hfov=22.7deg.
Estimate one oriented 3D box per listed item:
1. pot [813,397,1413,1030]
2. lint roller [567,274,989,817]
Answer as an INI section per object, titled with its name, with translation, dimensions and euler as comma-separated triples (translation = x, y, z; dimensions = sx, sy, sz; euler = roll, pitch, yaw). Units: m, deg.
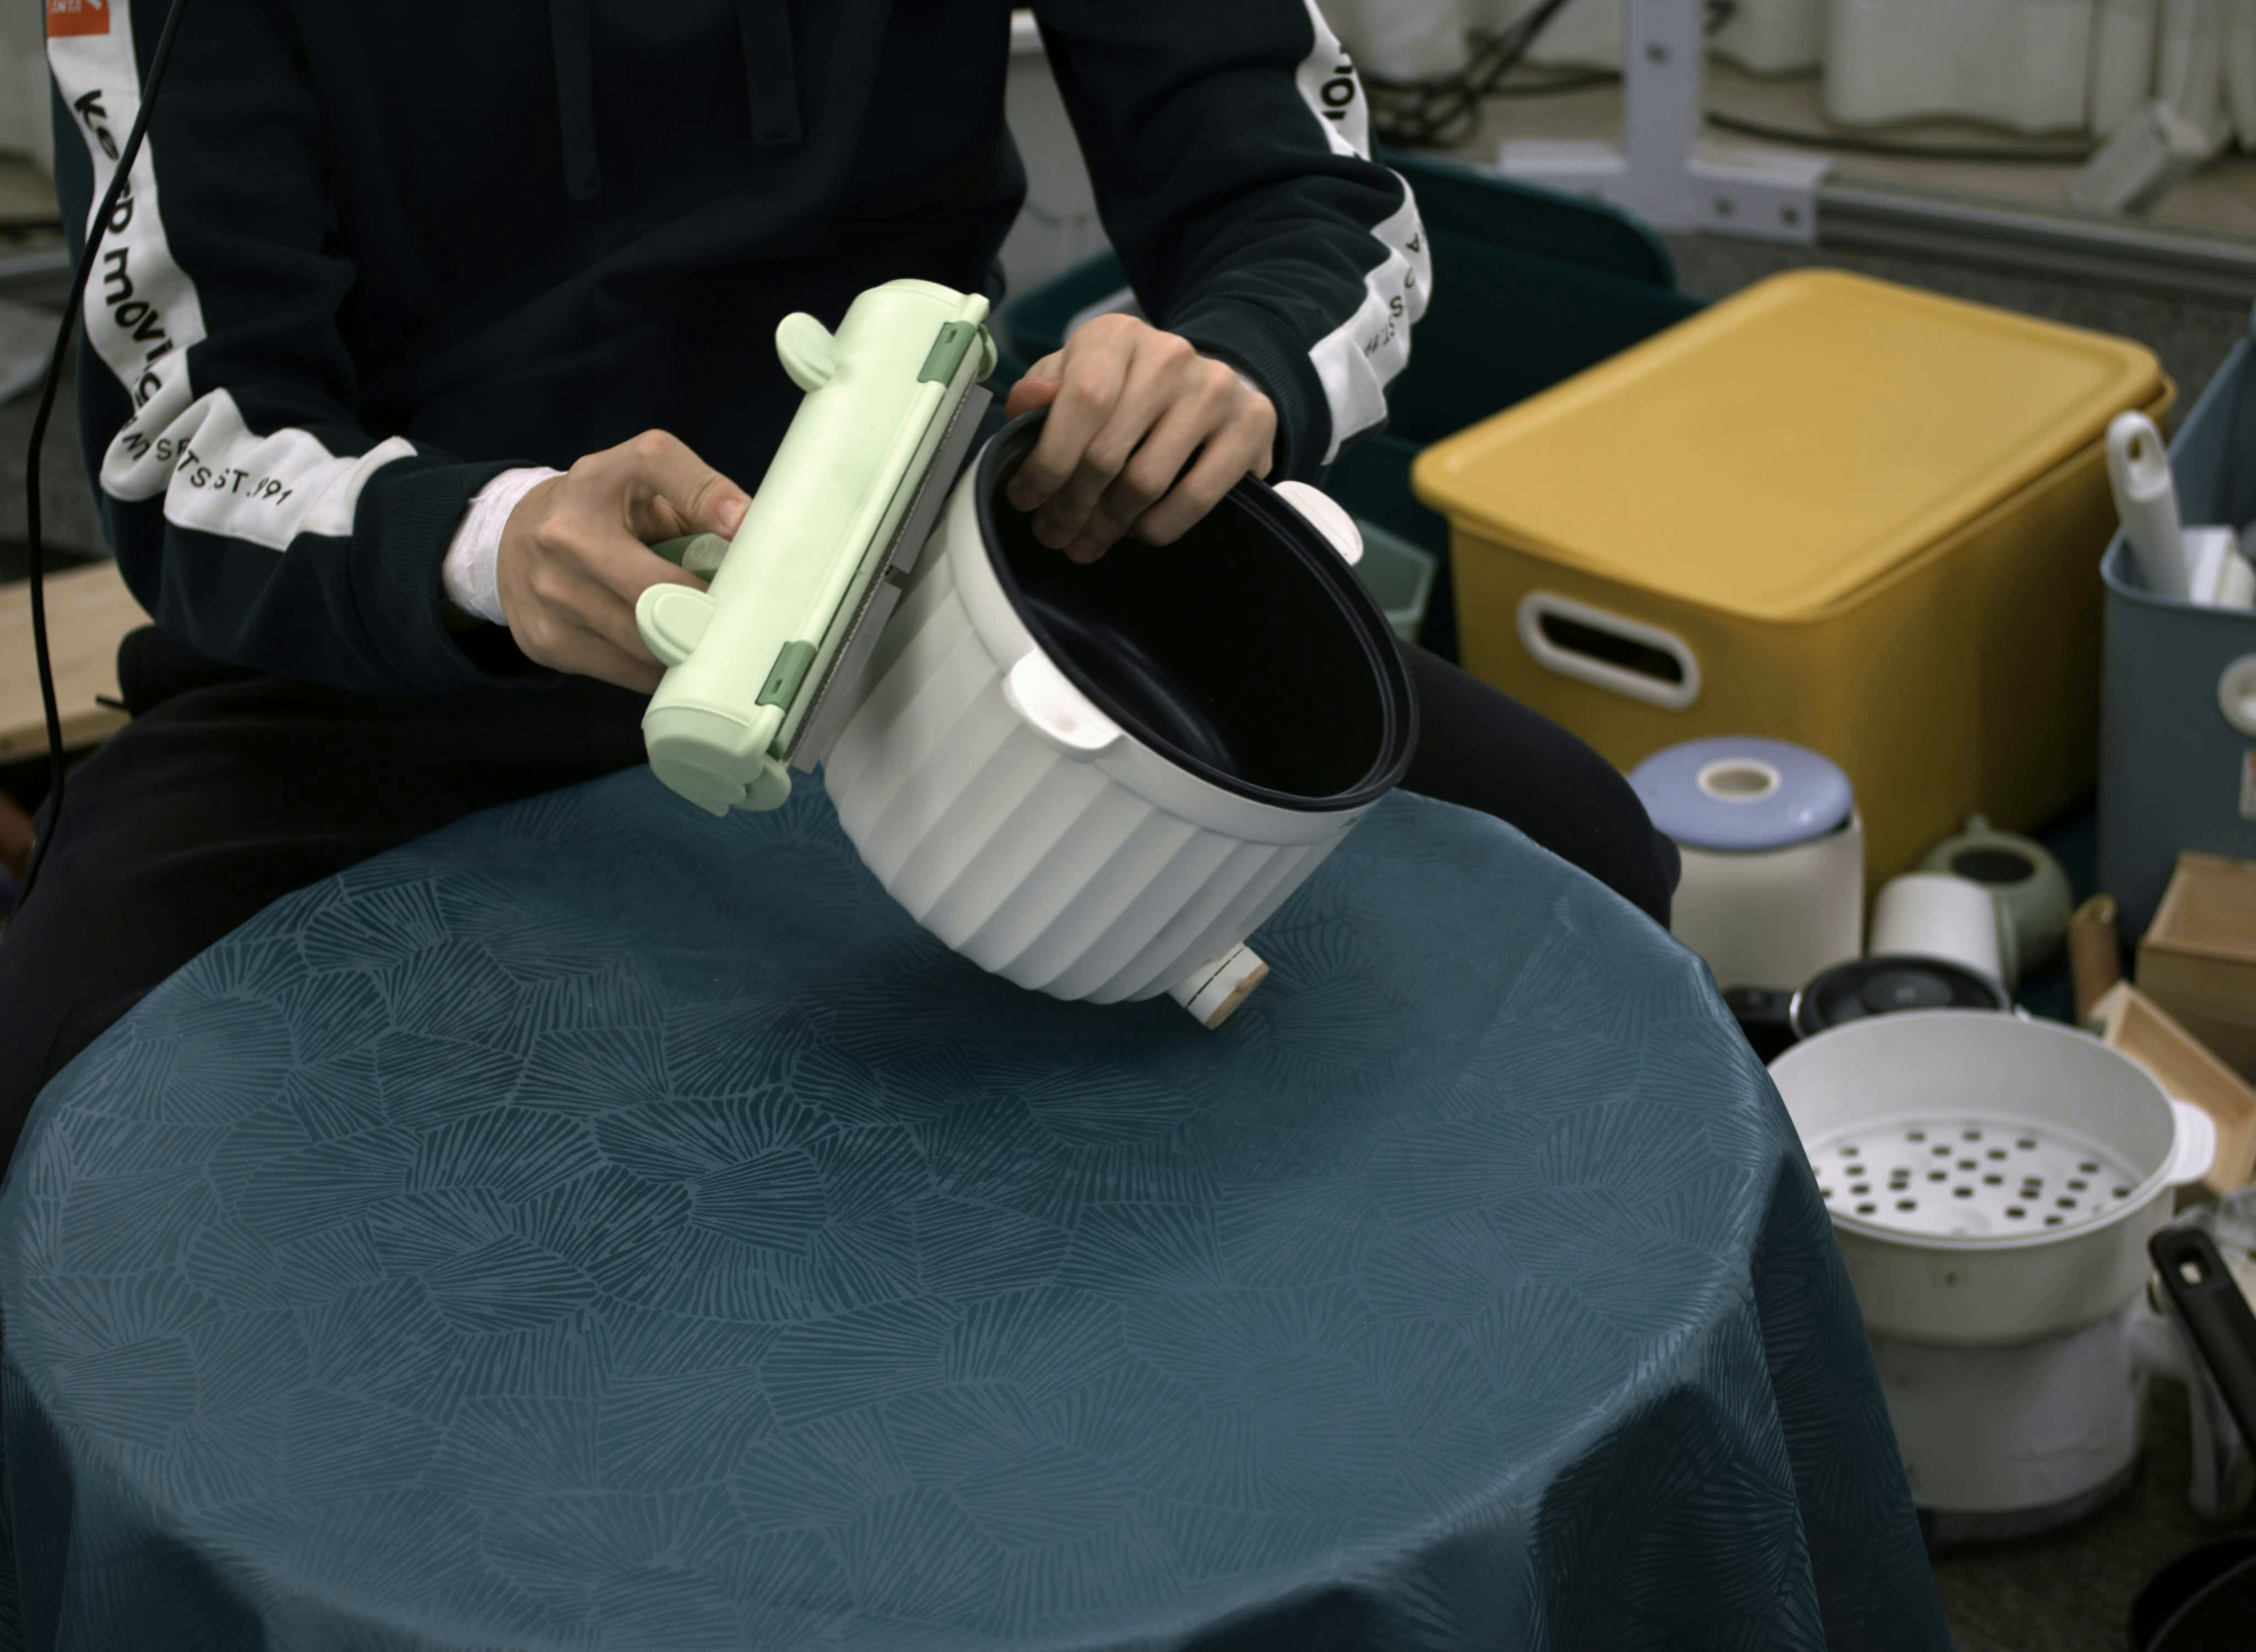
[pot]
translation = -0.008, -0.031, 1.940
dimensions = 0.191, 0.140, 0.244
euler = 41, 33, 7
[lint roller]
translation = -0.147, -0.096, 1.916
dimensions = 0.181, 0.081, 0.202
euler = -5, 51, 42
